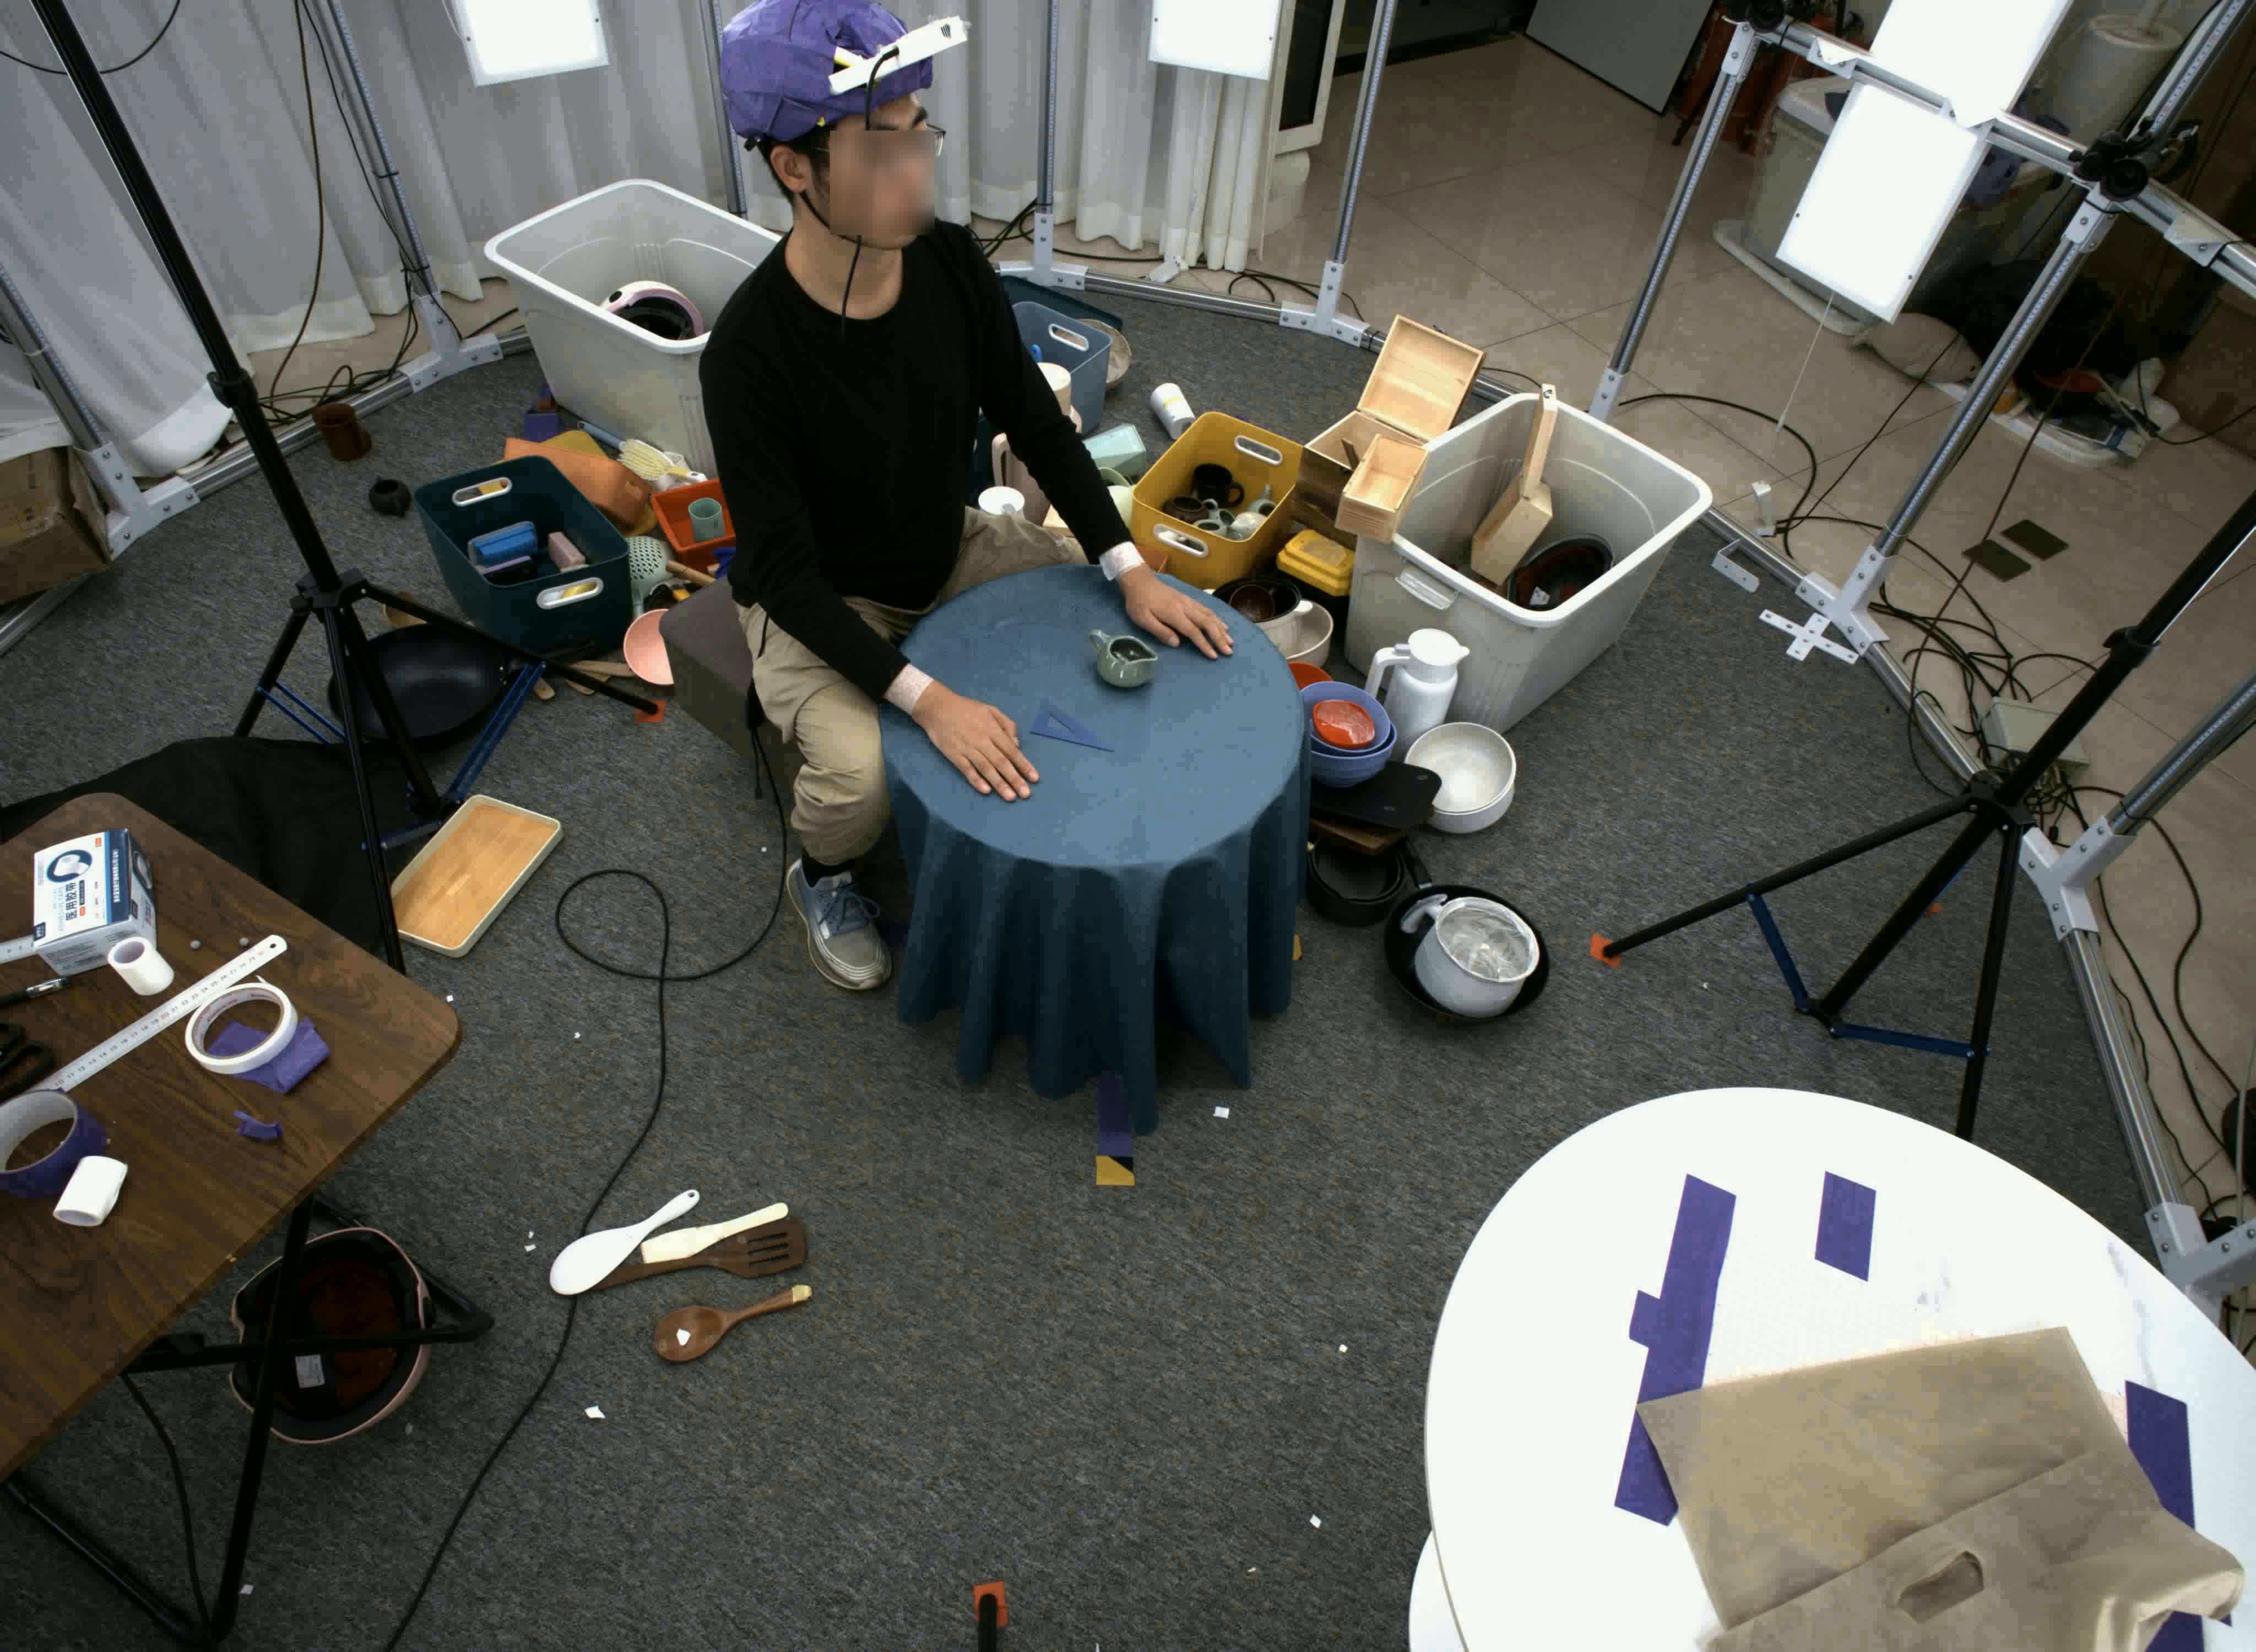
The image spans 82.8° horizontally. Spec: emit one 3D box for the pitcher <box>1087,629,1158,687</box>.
[{"bbox_3d":[-0.009,-0.243,1.844,0.113,0.055,0.085,25,50,17],"label":"pitcher"}]

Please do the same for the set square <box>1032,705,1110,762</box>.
[{"bbox_3d":[-0.086,-0.119,1.765,0.061,0.006,0.134,-31,58,-28],"label":"set square"}]
